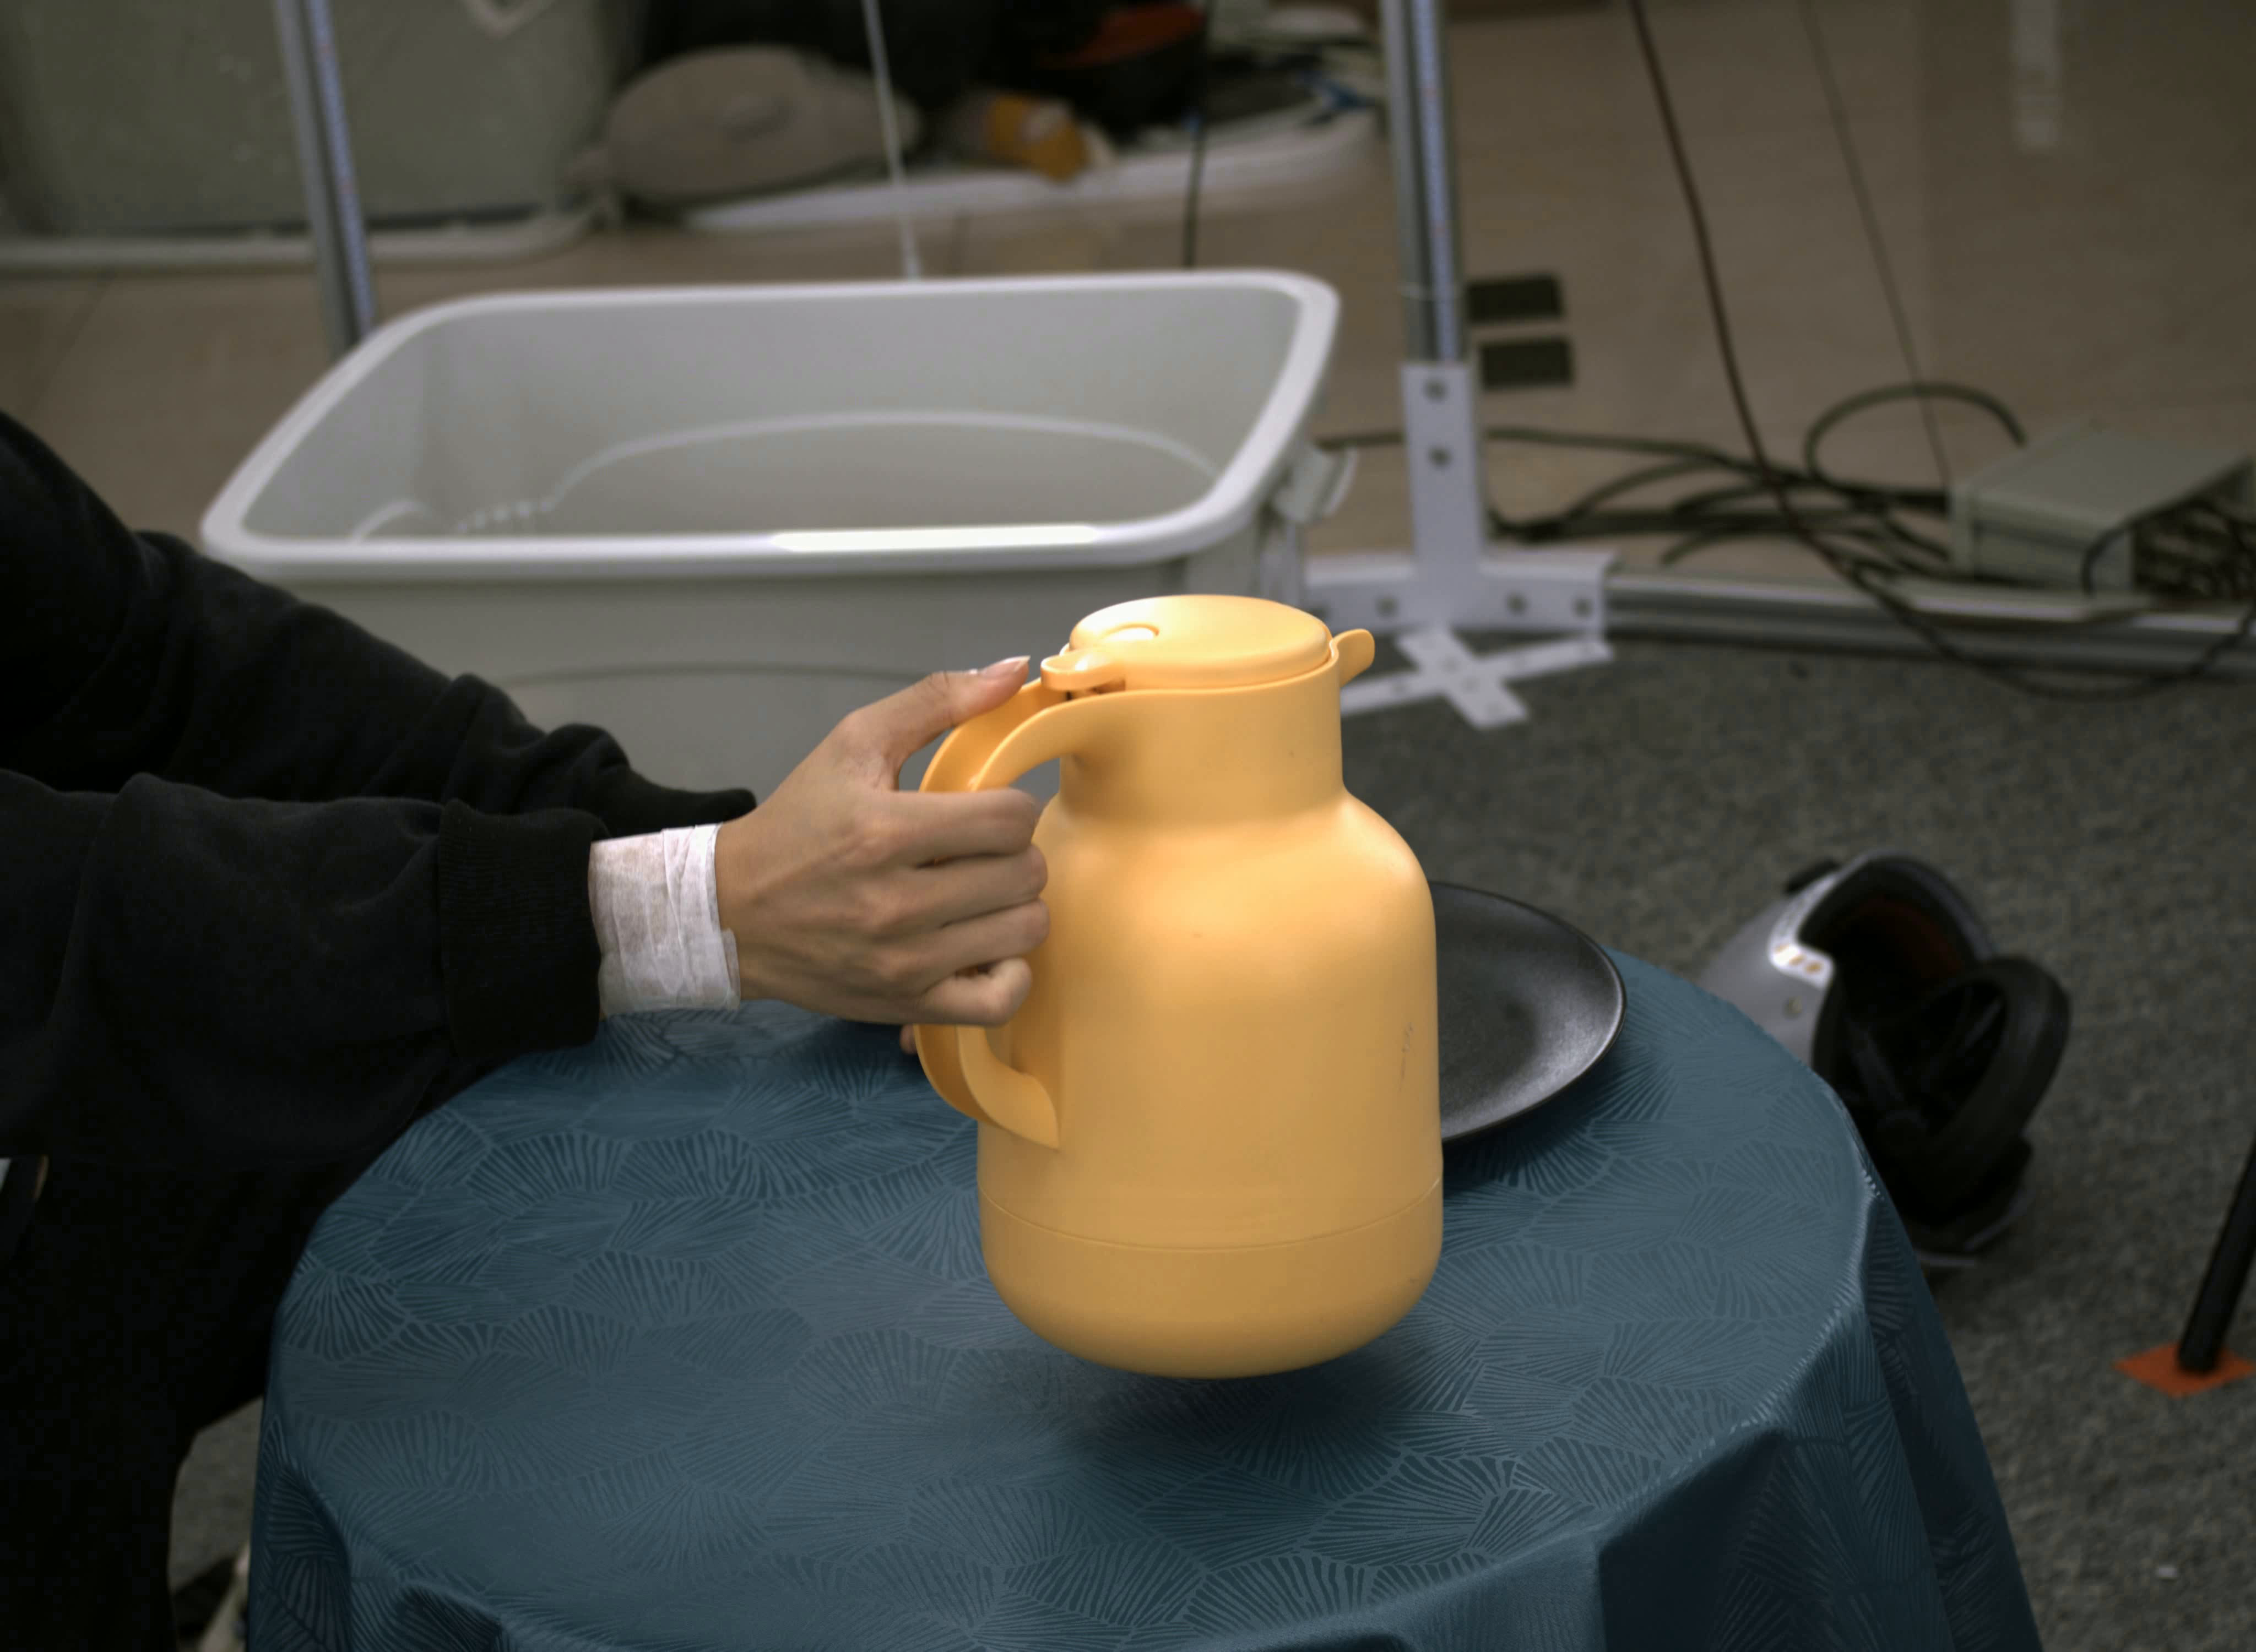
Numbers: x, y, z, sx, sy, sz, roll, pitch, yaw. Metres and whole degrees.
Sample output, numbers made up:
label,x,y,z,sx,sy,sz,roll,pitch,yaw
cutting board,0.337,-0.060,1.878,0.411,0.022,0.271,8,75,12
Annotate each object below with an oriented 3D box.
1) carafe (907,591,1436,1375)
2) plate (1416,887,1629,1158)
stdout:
label,x,y,z,sx,sy,sz,roll,pitch,yaw
carafe,0.010,0.053,1.955,0.201,0.263,0.162,-13,19,-36
plate,0.075,0.083,2.220,0.244,0.024,0.241,-4,25,2
